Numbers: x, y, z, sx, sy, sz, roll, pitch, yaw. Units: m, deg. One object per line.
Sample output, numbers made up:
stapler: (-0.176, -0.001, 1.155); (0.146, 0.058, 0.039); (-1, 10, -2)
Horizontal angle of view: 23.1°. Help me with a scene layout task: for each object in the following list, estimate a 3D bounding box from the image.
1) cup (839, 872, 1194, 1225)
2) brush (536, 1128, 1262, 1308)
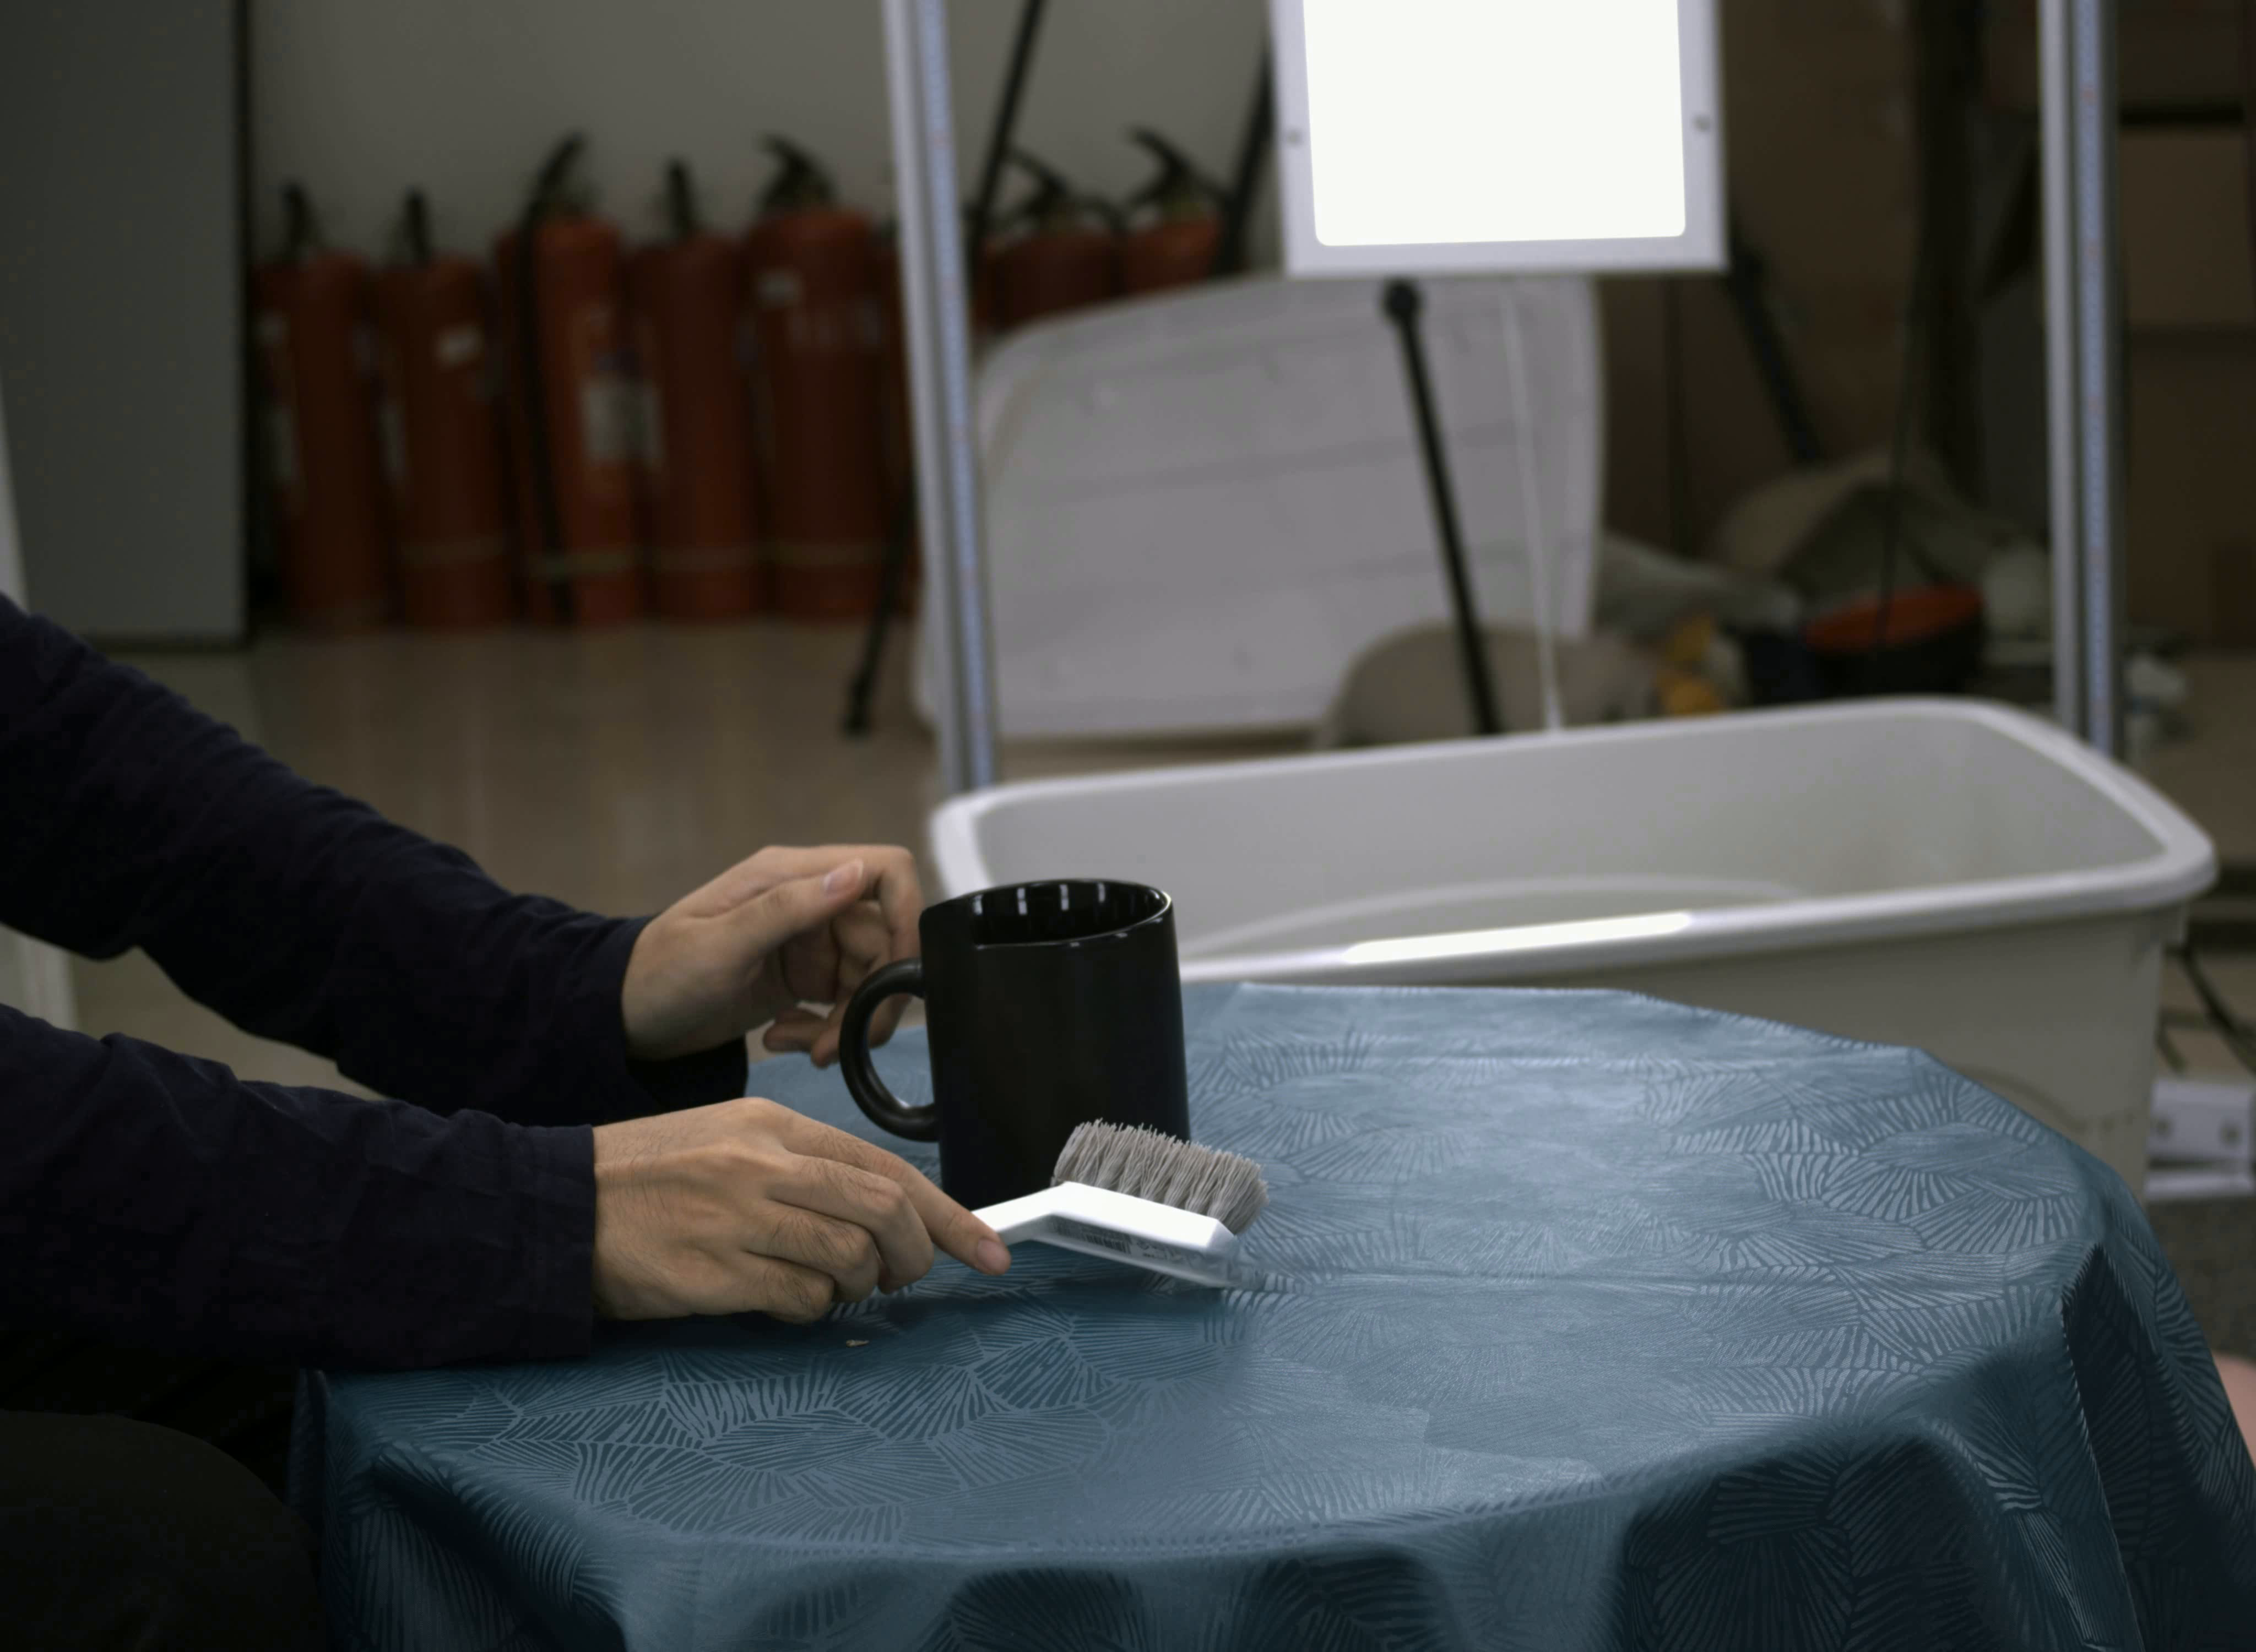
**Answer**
cup: (-0.041, 0.078, 1.896); (0.125, 0.105, 0.087); (-1, 16, 22)
brush: (-0.076, 0.129, 1.811); (0.246, 0.050, 0.034); (-4, -23, 15)
